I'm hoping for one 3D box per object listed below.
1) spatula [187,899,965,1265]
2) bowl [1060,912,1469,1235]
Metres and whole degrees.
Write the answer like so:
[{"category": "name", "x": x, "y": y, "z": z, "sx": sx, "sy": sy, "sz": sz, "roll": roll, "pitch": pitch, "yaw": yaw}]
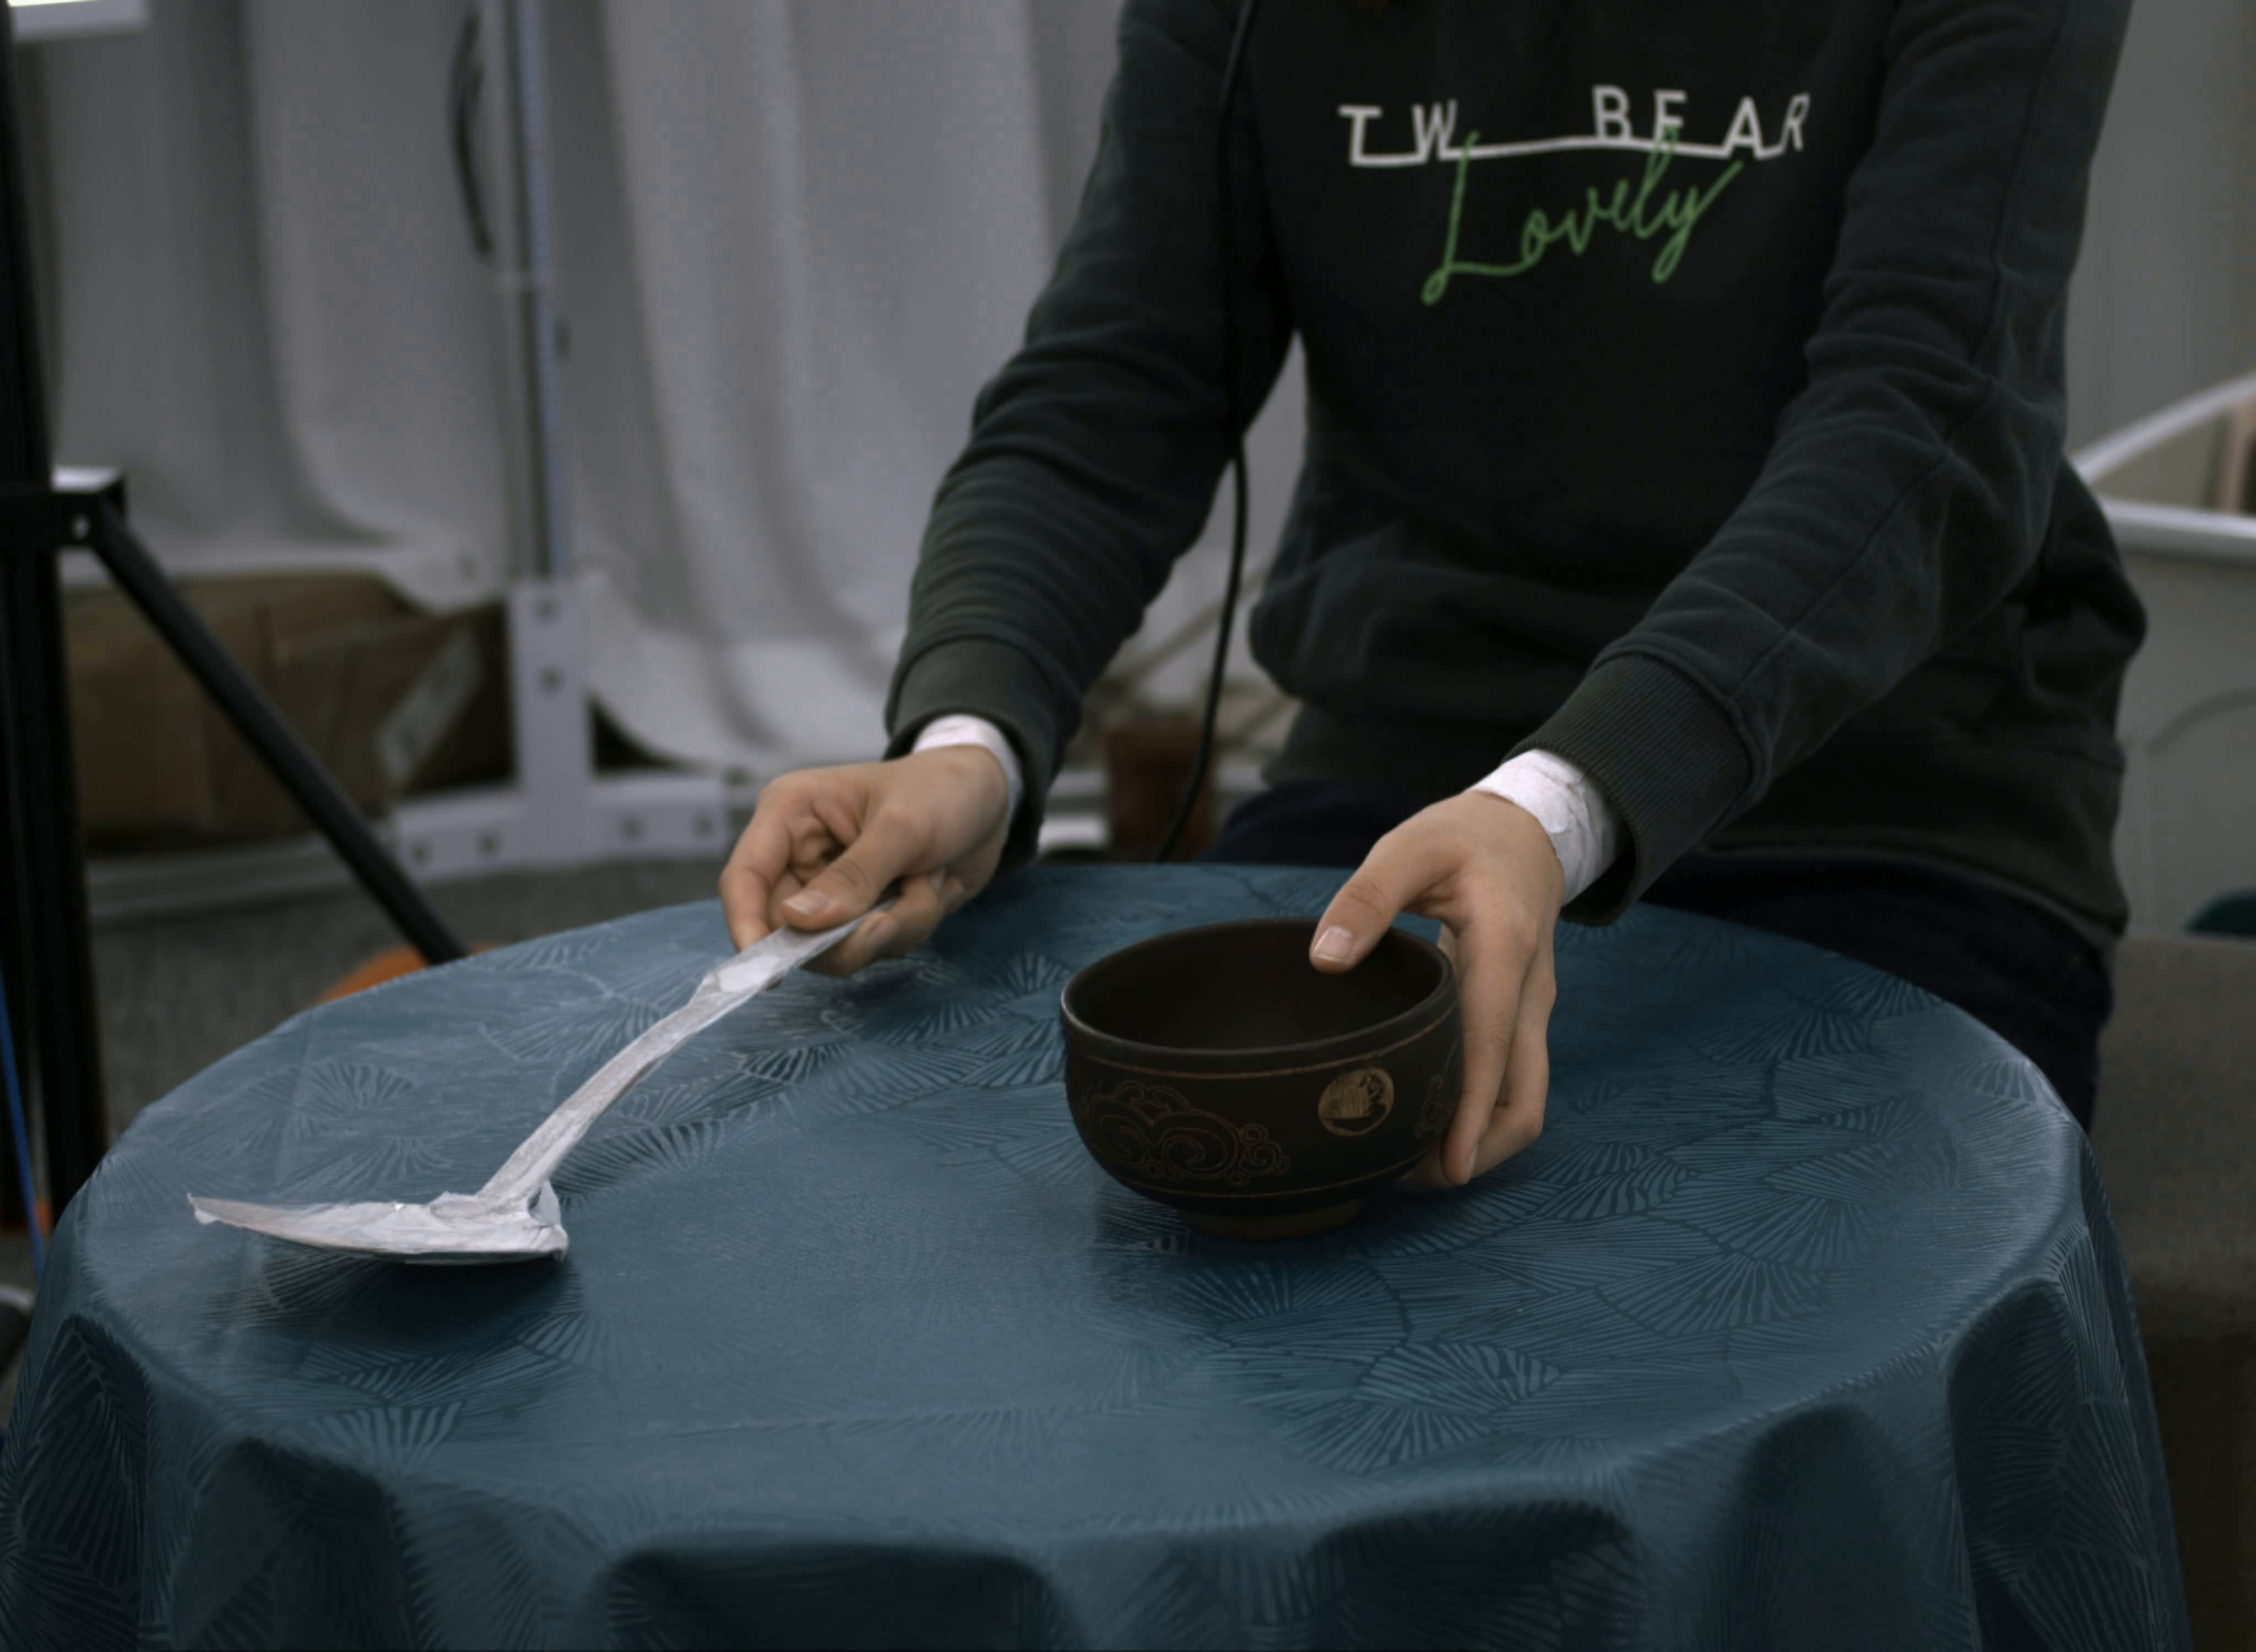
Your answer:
[{"category": "spatula", "x": -0.146, "y": 0.069, "z": 1.618, "sx": 0.100, "sy": 0.044, "sz": 0.360, "roll": 5, "pitch": 23, "yaw": 27}, {"category": "bowl", "x": 0.040, "y": 0.075, "z": 1.528, "sx": 0.117, "sy": 0.070, "sz": 0.119, "roll": -4, "pitch": 18, "yaw": 0}]
